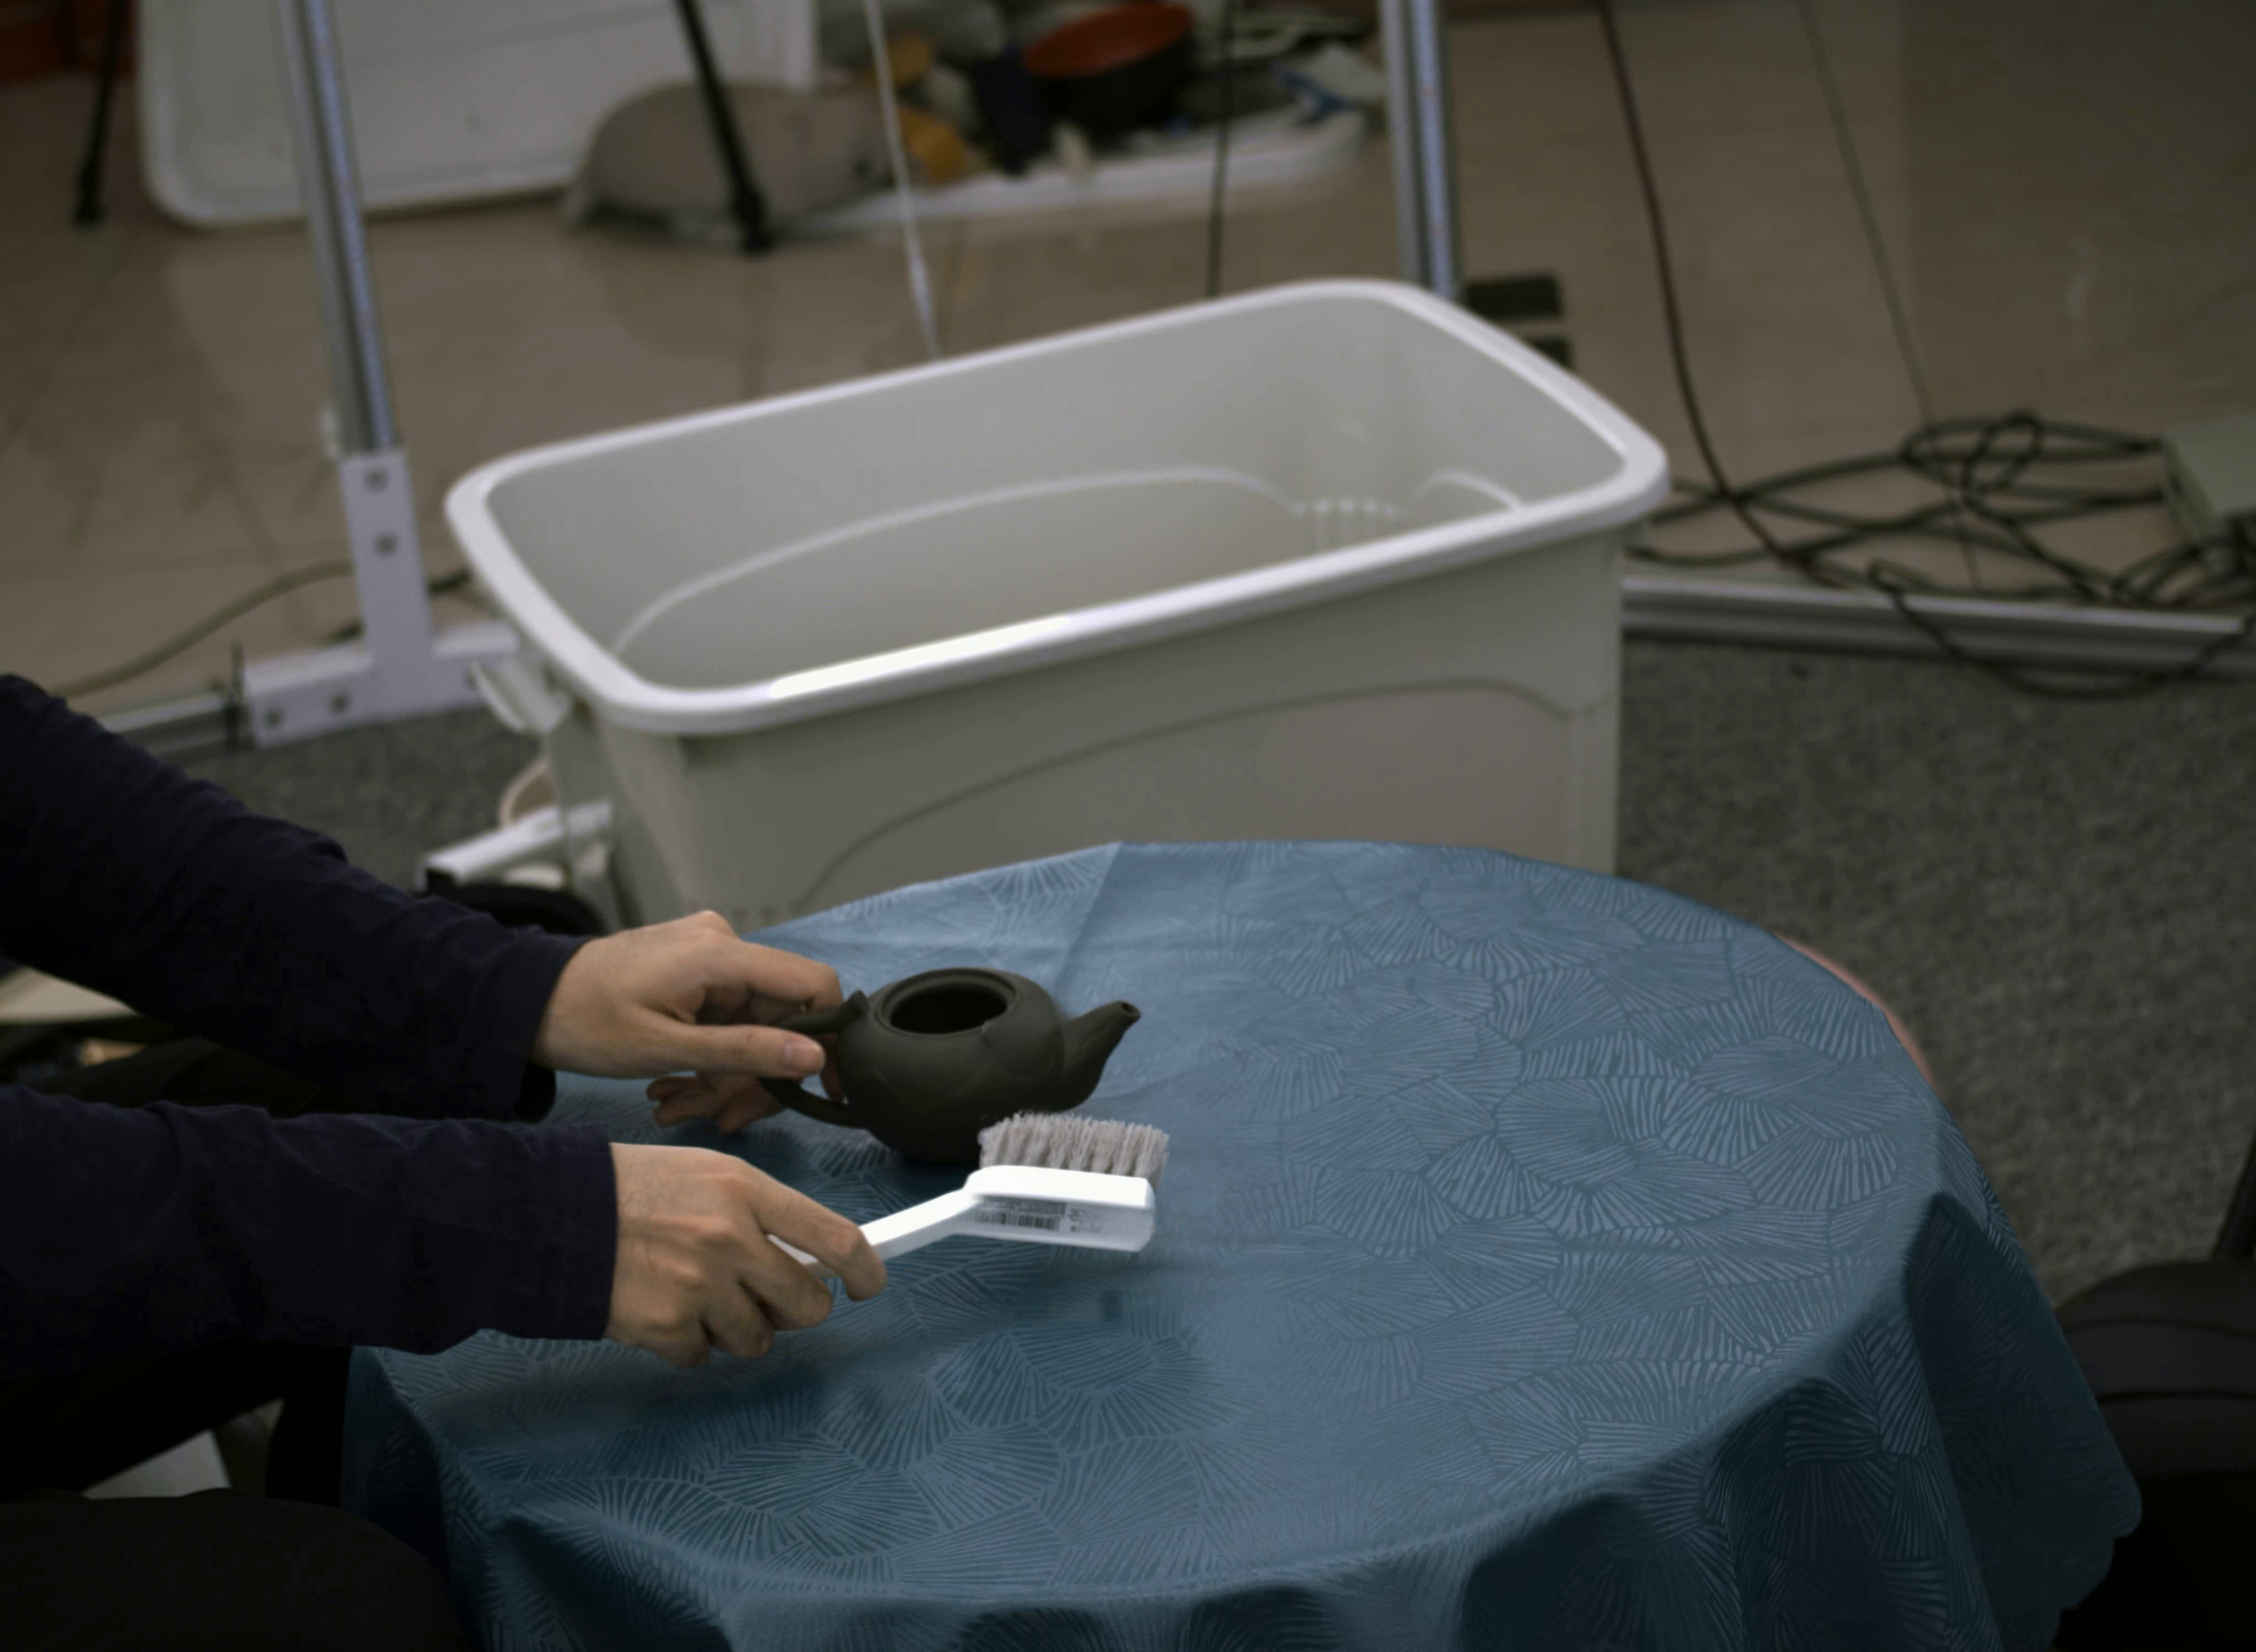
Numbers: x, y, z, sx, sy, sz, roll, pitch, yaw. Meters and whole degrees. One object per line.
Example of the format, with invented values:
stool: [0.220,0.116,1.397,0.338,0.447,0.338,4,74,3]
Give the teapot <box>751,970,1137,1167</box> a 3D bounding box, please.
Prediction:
teapot: [-0.070,0.093,2.192,0.154,0.065,0.091,-3,26,10]

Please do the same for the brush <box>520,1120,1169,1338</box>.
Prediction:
brush: [-0.103,0.144,2.066,0.243,0.035,0.049,-8,60,-8]
